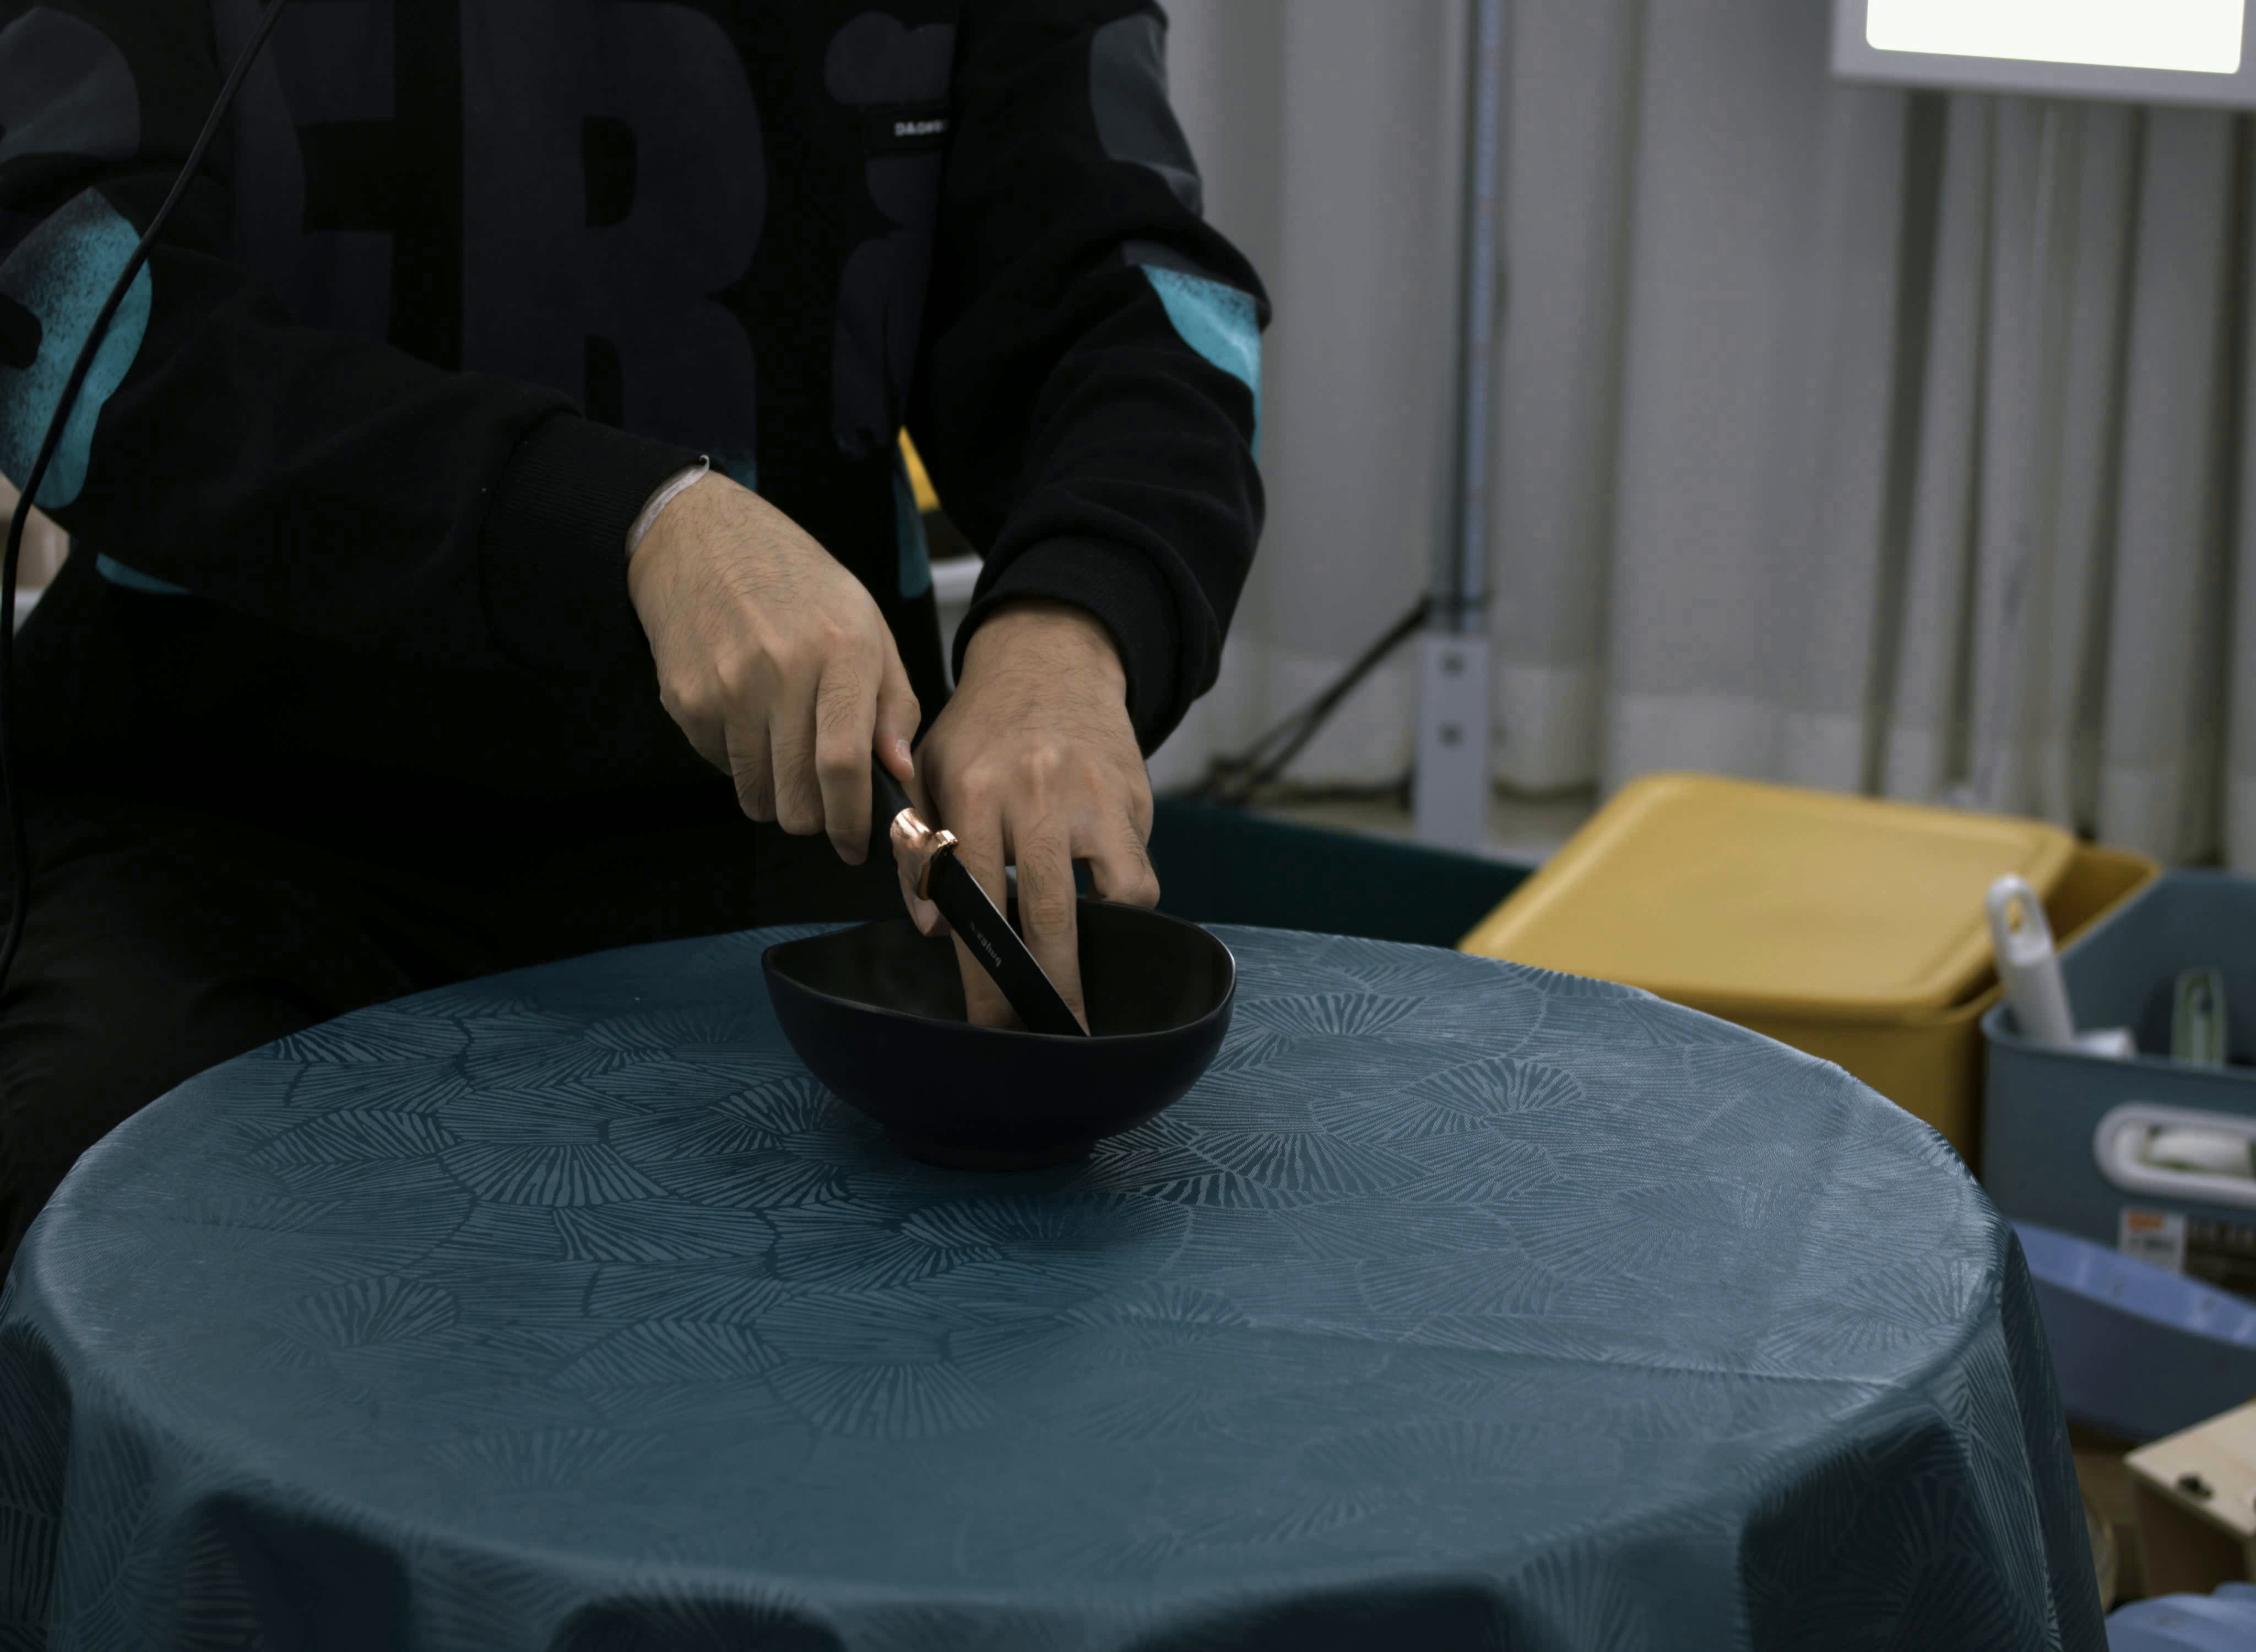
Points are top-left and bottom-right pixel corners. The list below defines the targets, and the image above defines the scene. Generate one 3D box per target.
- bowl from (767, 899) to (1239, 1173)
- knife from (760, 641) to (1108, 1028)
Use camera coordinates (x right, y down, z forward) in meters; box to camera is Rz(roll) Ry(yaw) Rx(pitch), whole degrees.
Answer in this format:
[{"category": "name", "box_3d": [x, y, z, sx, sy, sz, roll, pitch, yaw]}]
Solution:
[{"category": "bowl", "box_3d": [-0.041, 0.069, 1.656, 0.138, 0.067, 0.168, -13, 19, -40]}, {"category": "knife", "box_3d": [-0.058, 0.013, 1.684, 0.017, 0.026, 0.223, -14, 49, -35]}]
